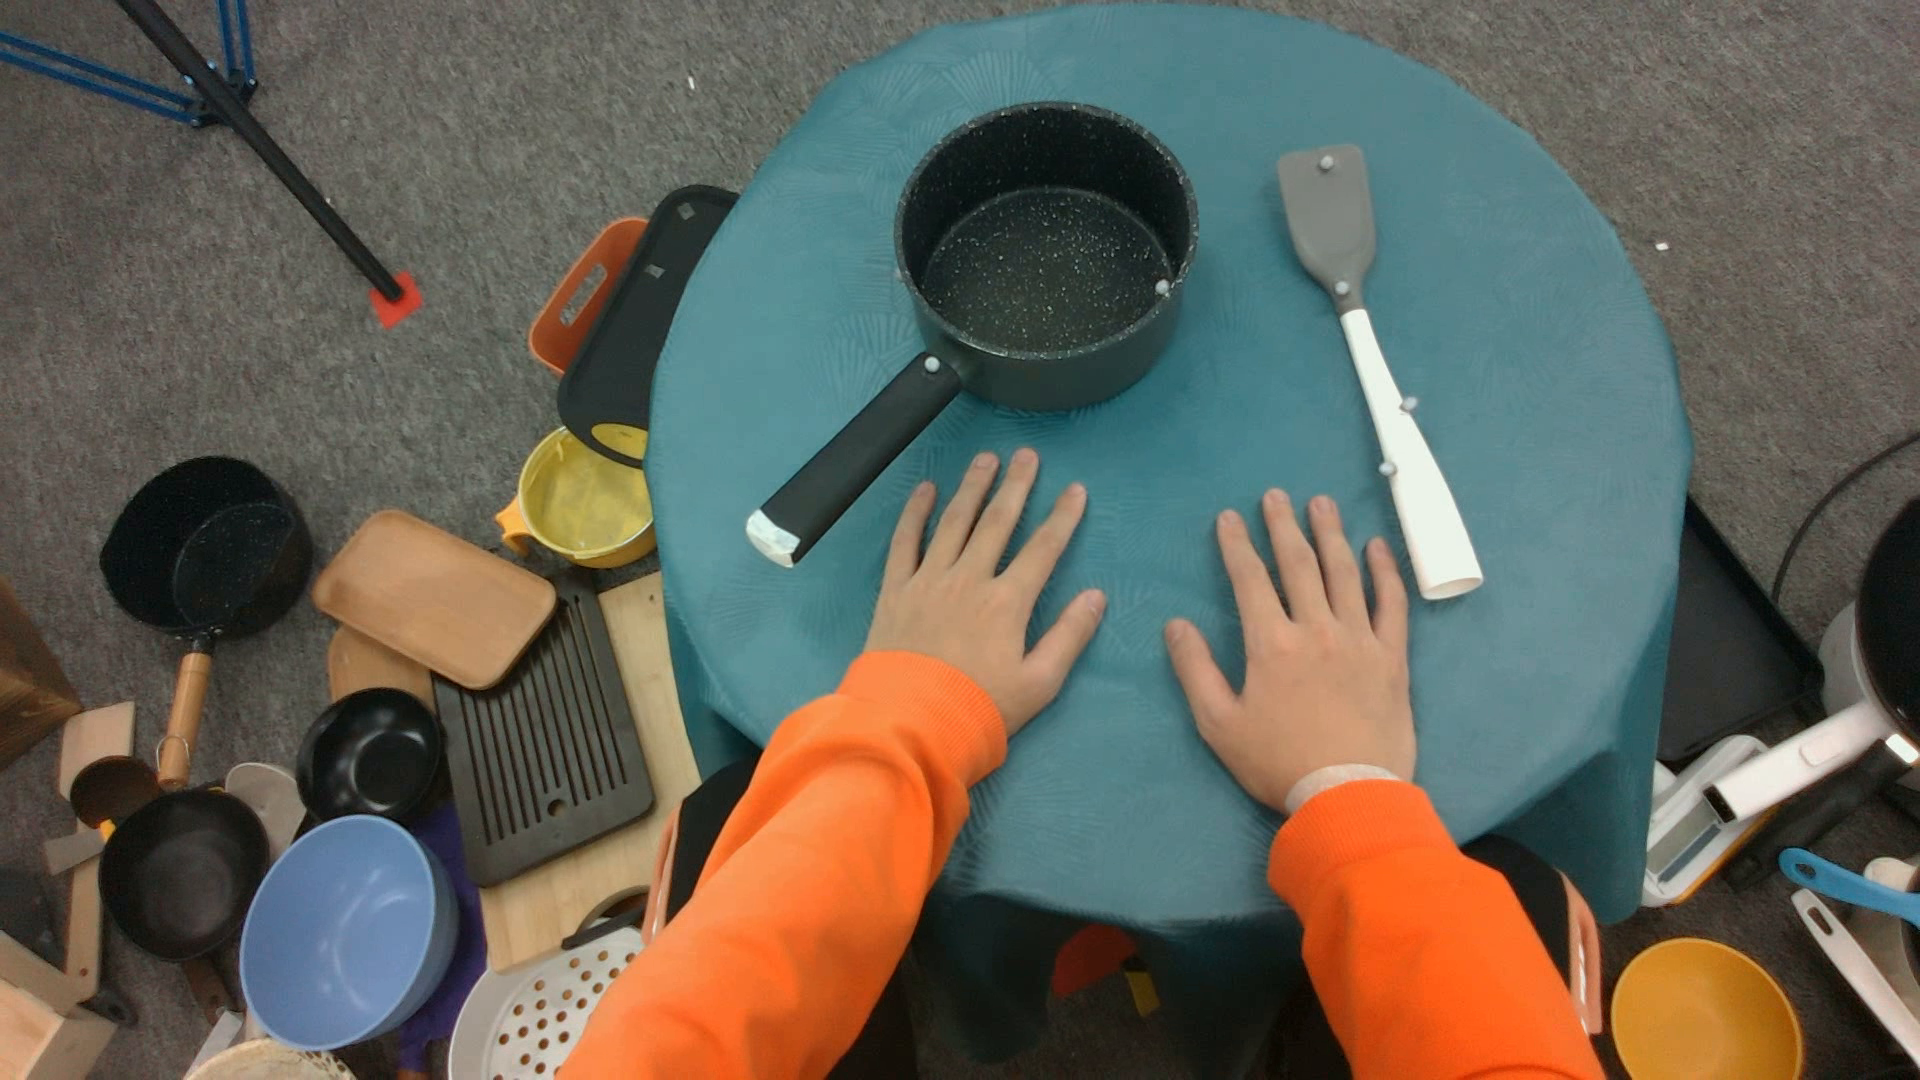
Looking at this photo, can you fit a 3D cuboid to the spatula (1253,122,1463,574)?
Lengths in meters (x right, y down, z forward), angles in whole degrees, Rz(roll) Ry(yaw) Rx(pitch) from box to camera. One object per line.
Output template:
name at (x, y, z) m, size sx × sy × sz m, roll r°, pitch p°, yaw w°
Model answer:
spatula at (0.228, -0.118, 0.792) m, size 0.058 × 0.032 × 0.288 m, roll -12°, pitch 68°, yaw 3°

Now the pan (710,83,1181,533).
pan at (-0.011, -0.116, 0.780) m, size 0.172 × 0.086 × 0.329 m, roll 36°, pitch 73°, yaw 18°
